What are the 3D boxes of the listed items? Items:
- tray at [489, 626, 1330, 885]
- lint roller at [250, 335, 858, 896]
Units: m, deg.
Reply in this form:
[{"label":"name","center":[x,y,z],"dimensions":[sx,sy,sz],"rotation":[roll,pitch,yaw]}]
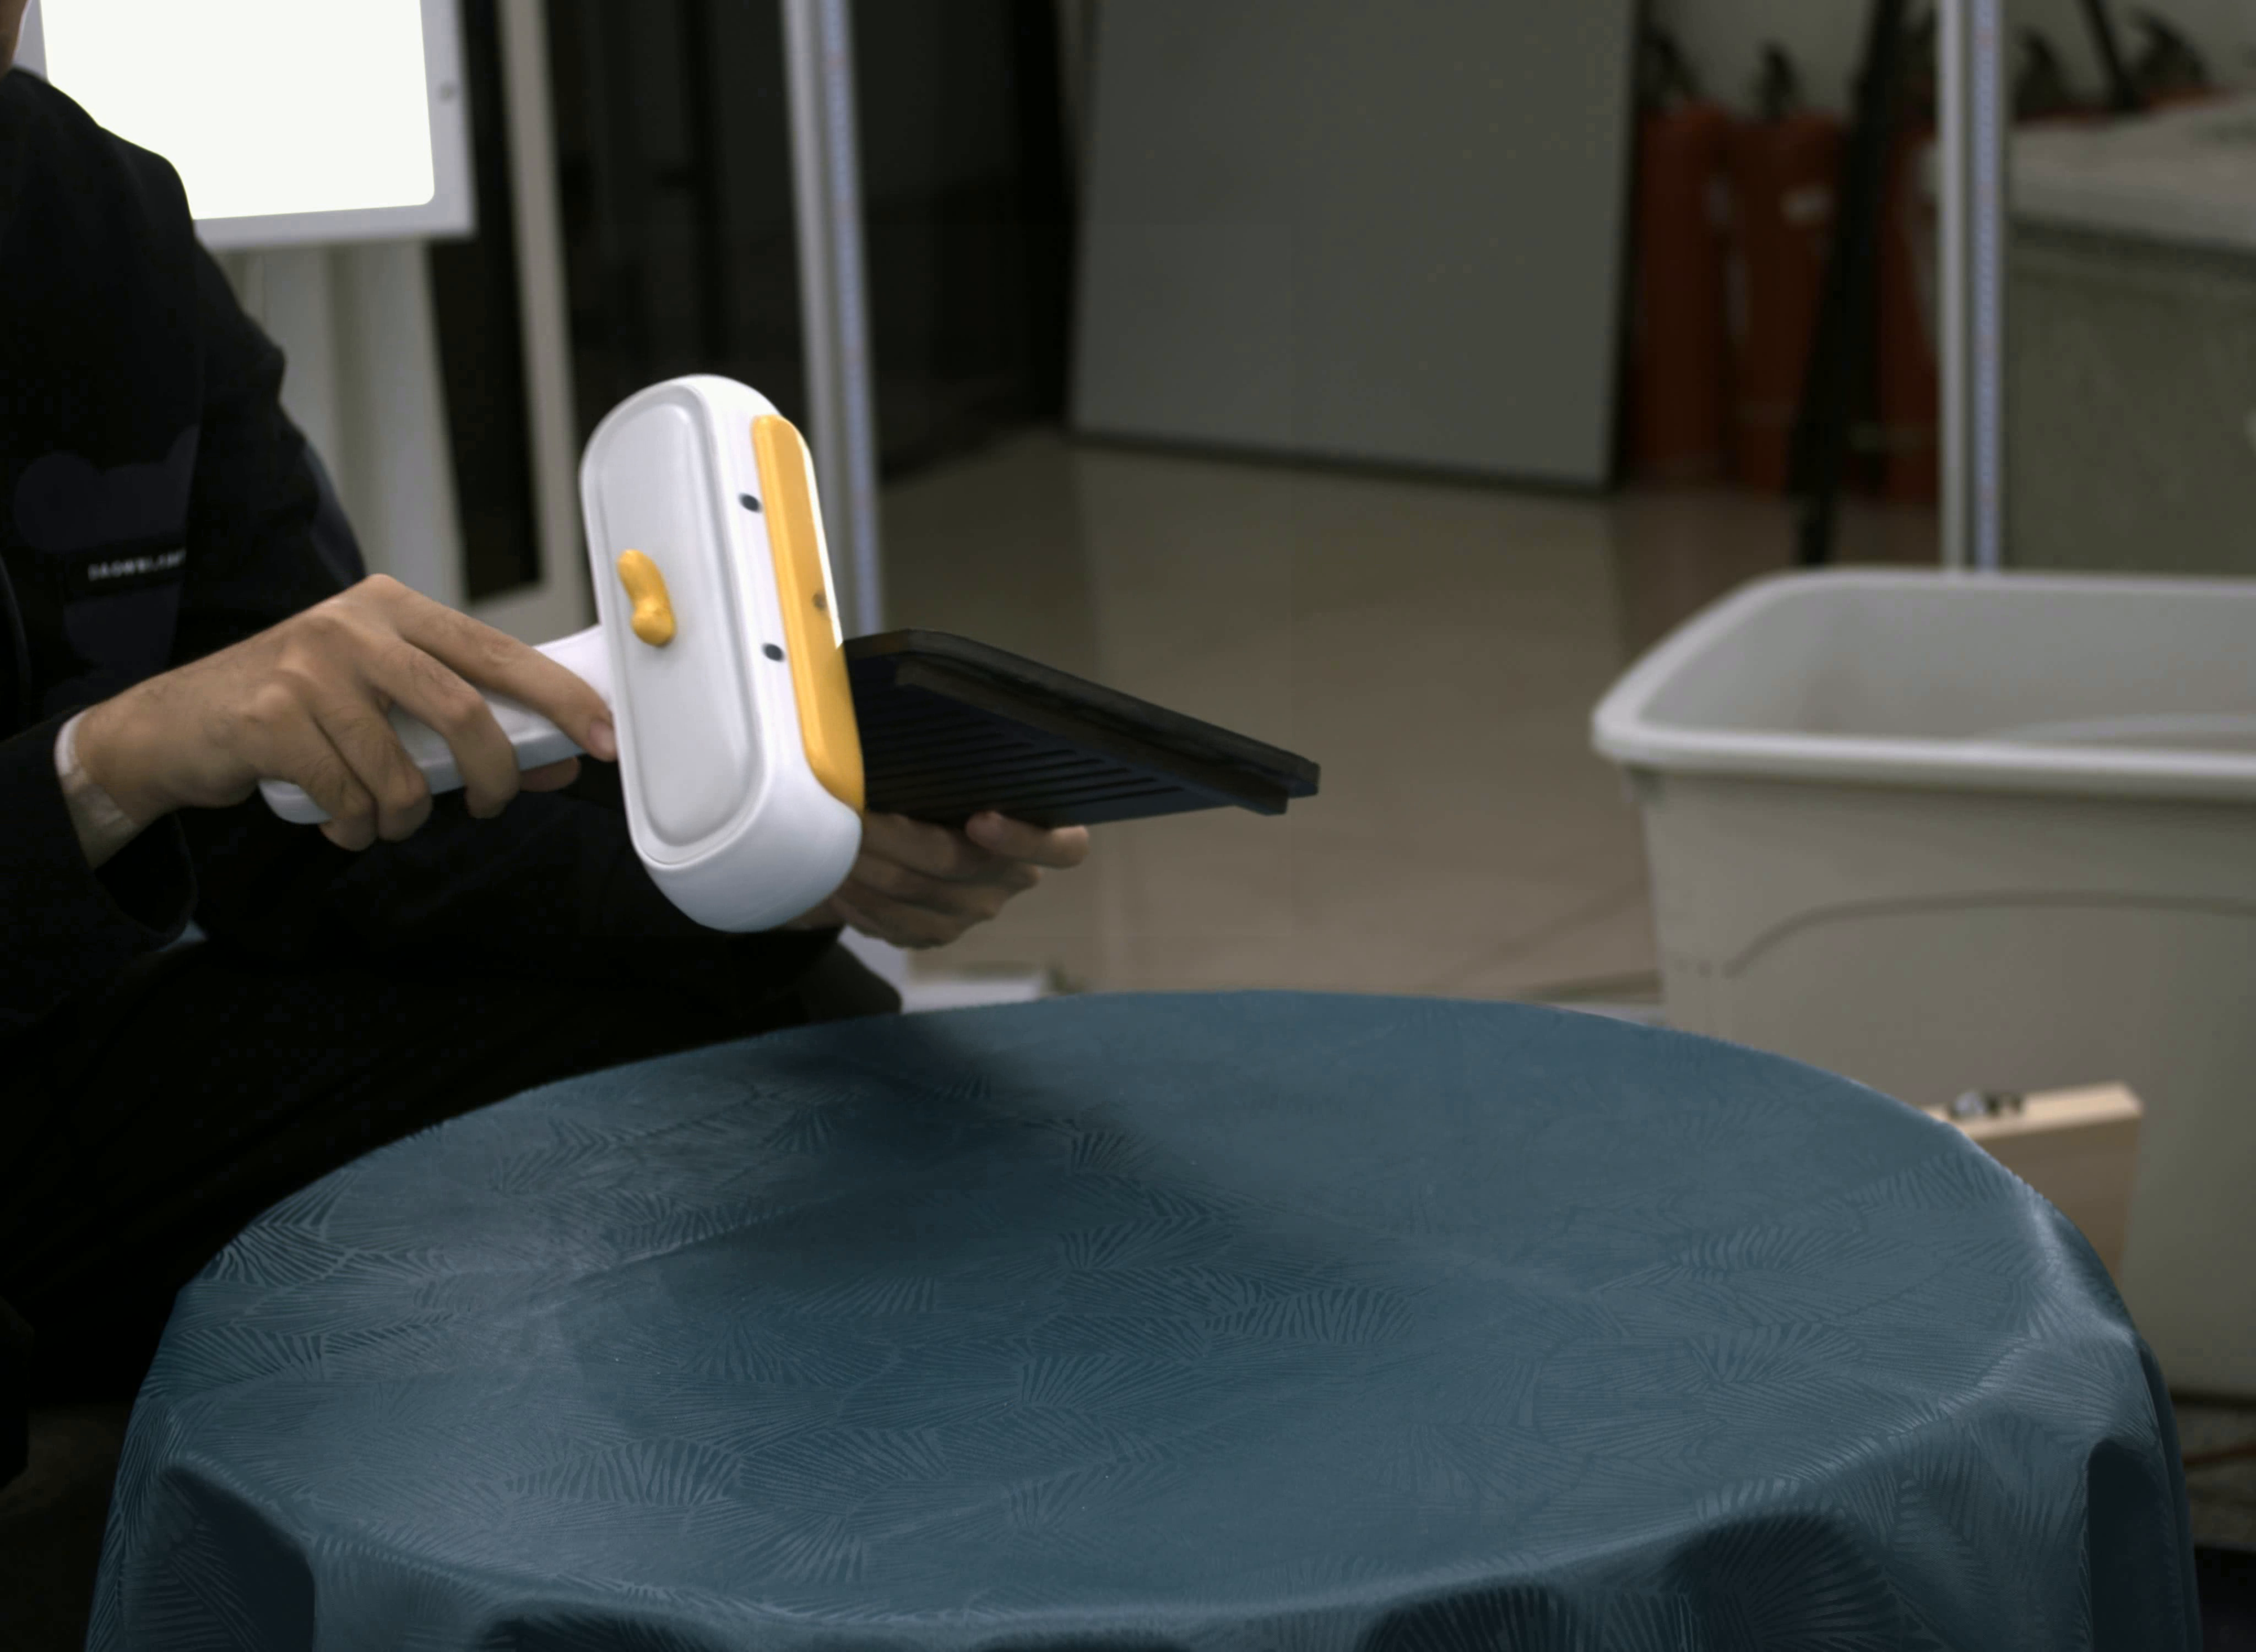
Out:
[{"label":"tray","center":[-0.086,-0.019,1.819],"dimensions":[0.166,0.019,0.309],"rotation":[19,-17,-34]},{"label":"lint roller","center":[-0.184,-0.043,1.697],"dimensions":[0.192,0.195,0.073],"rotation":[-28,-31,17]}]
